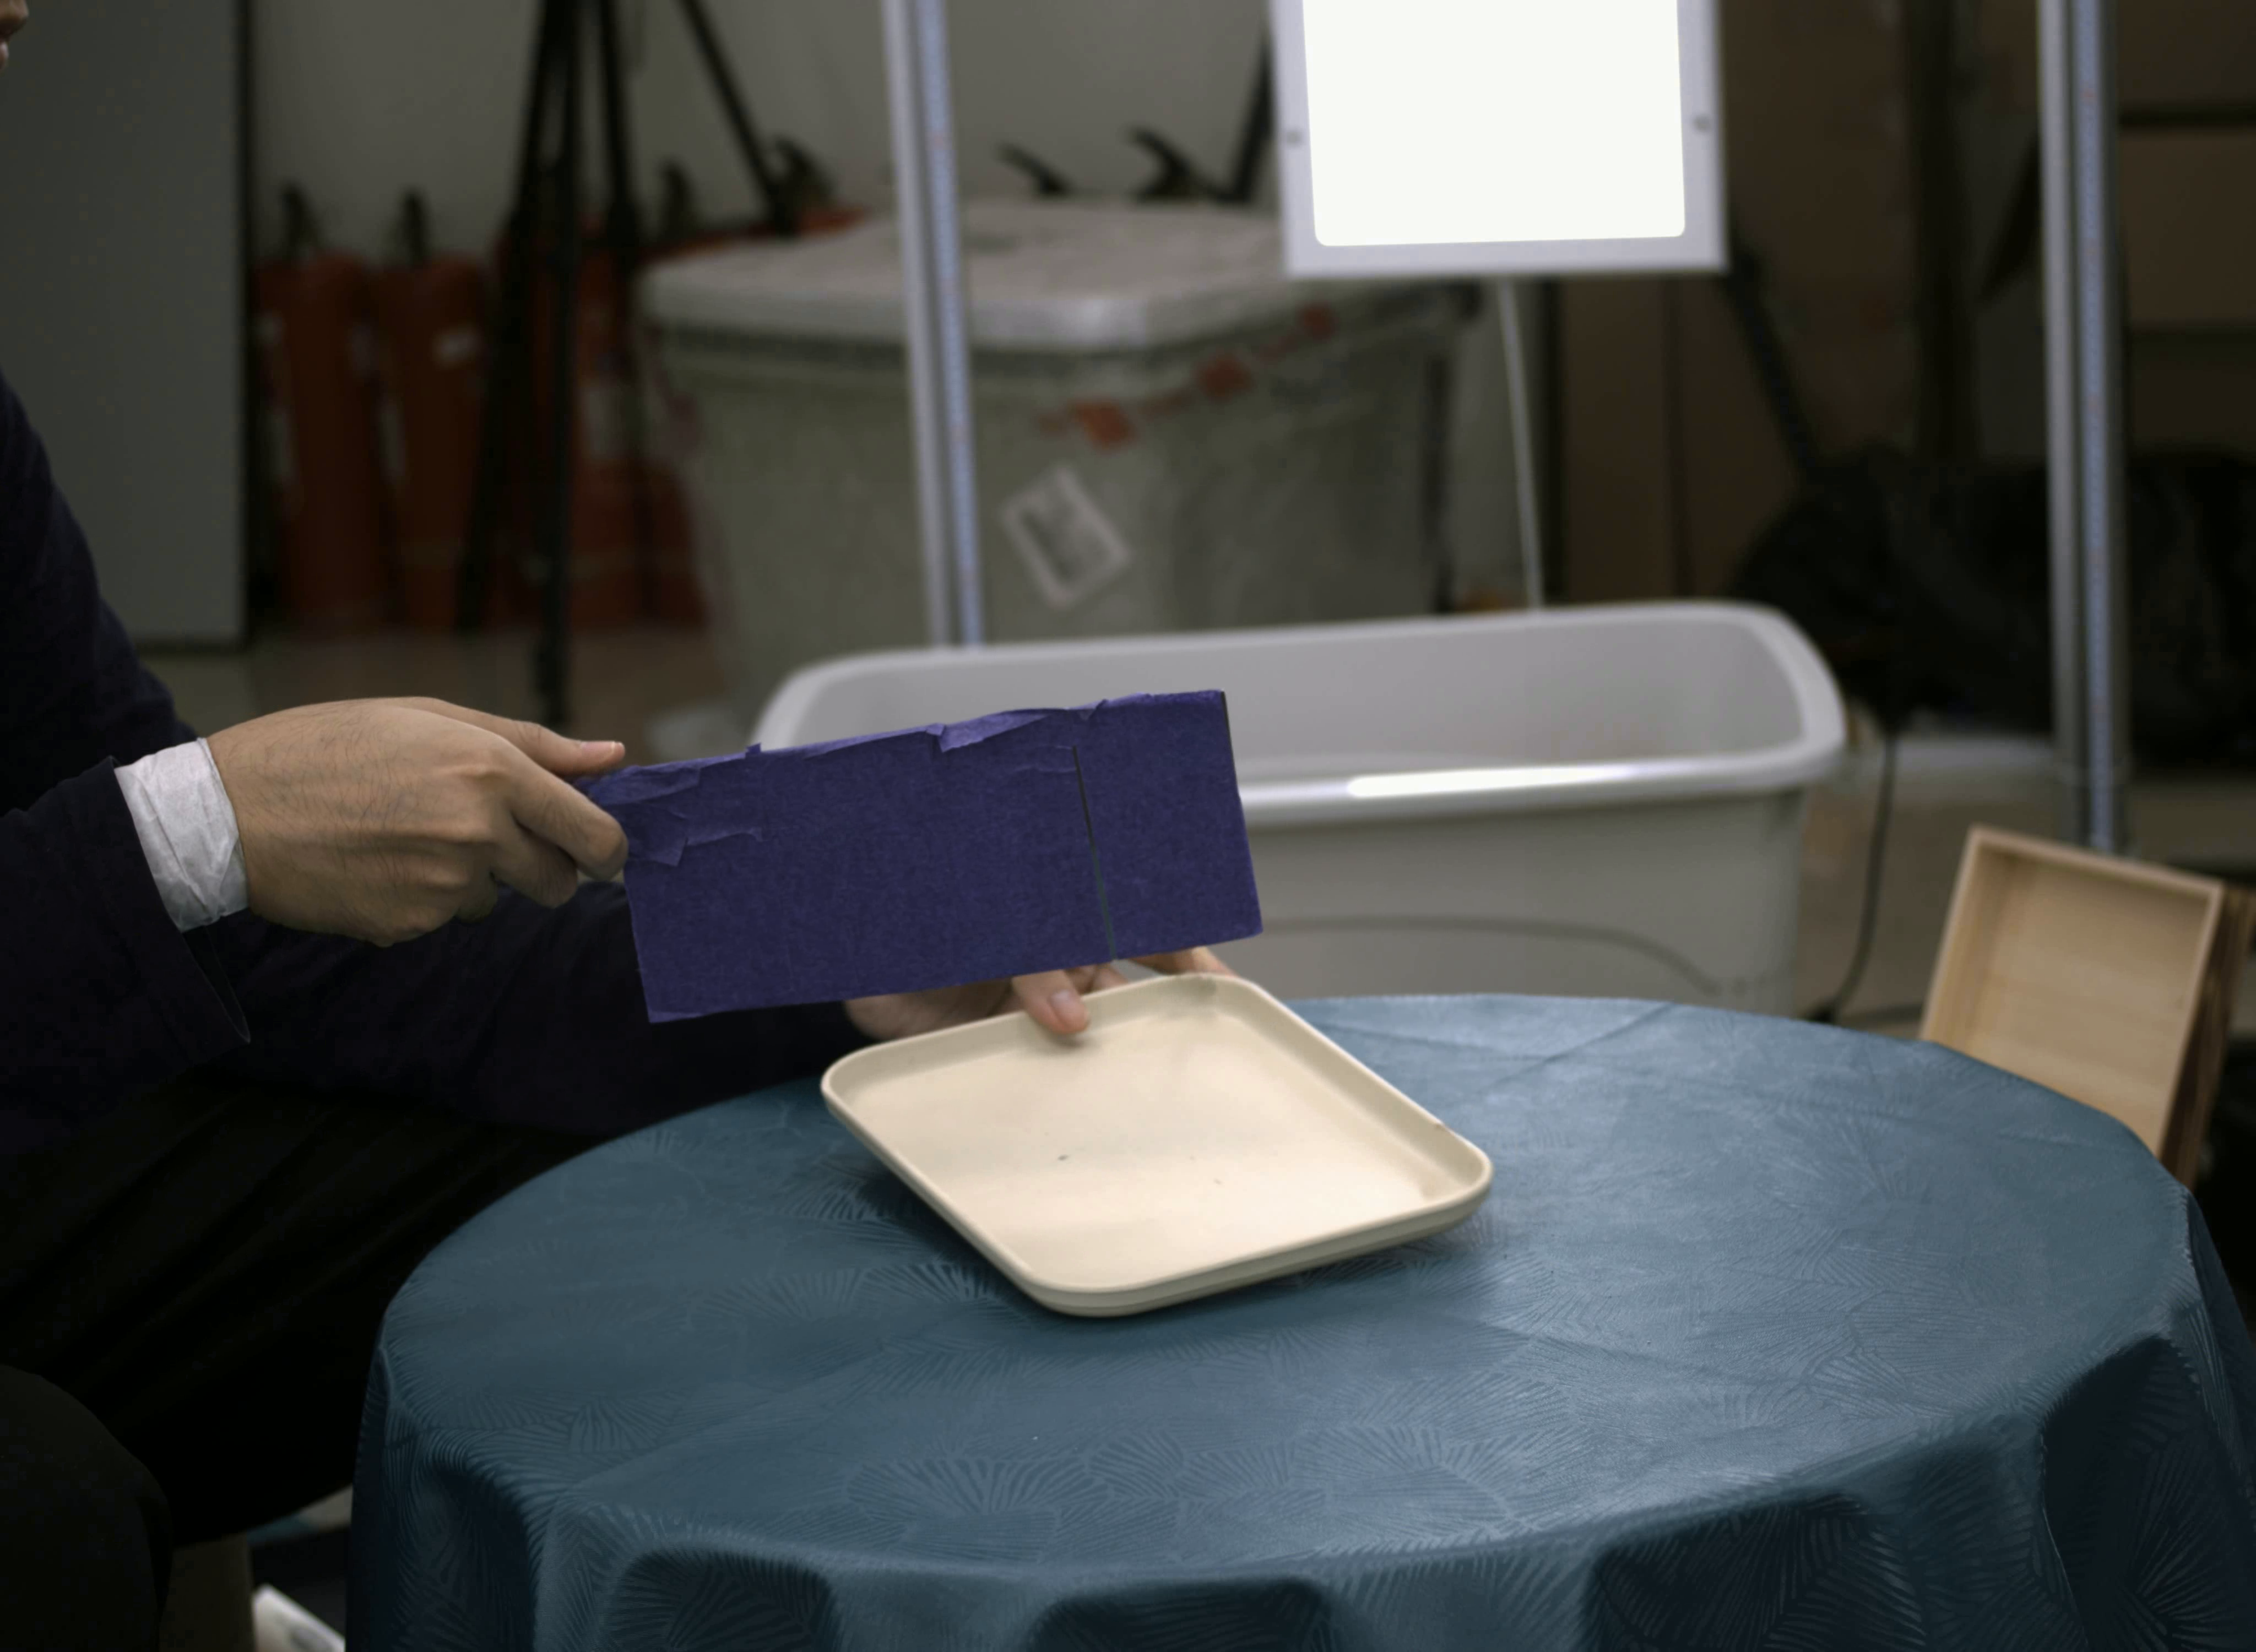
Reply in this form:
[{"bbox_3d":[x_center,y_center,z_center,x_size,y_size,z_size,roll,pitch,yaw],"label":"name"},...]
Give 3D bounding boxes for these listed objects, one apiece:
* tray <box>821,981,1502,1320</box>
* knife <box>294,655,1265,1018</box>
[{"bbox_3d":[0.009,0.109,1.885,0.168,0.017,0.243,-13,21,-21],"label":"tray"},{"bbox_3d":[-0.114,0.016,1.817,0.316,0.104,0.032,-8,18,6],"label":"knife"}]
